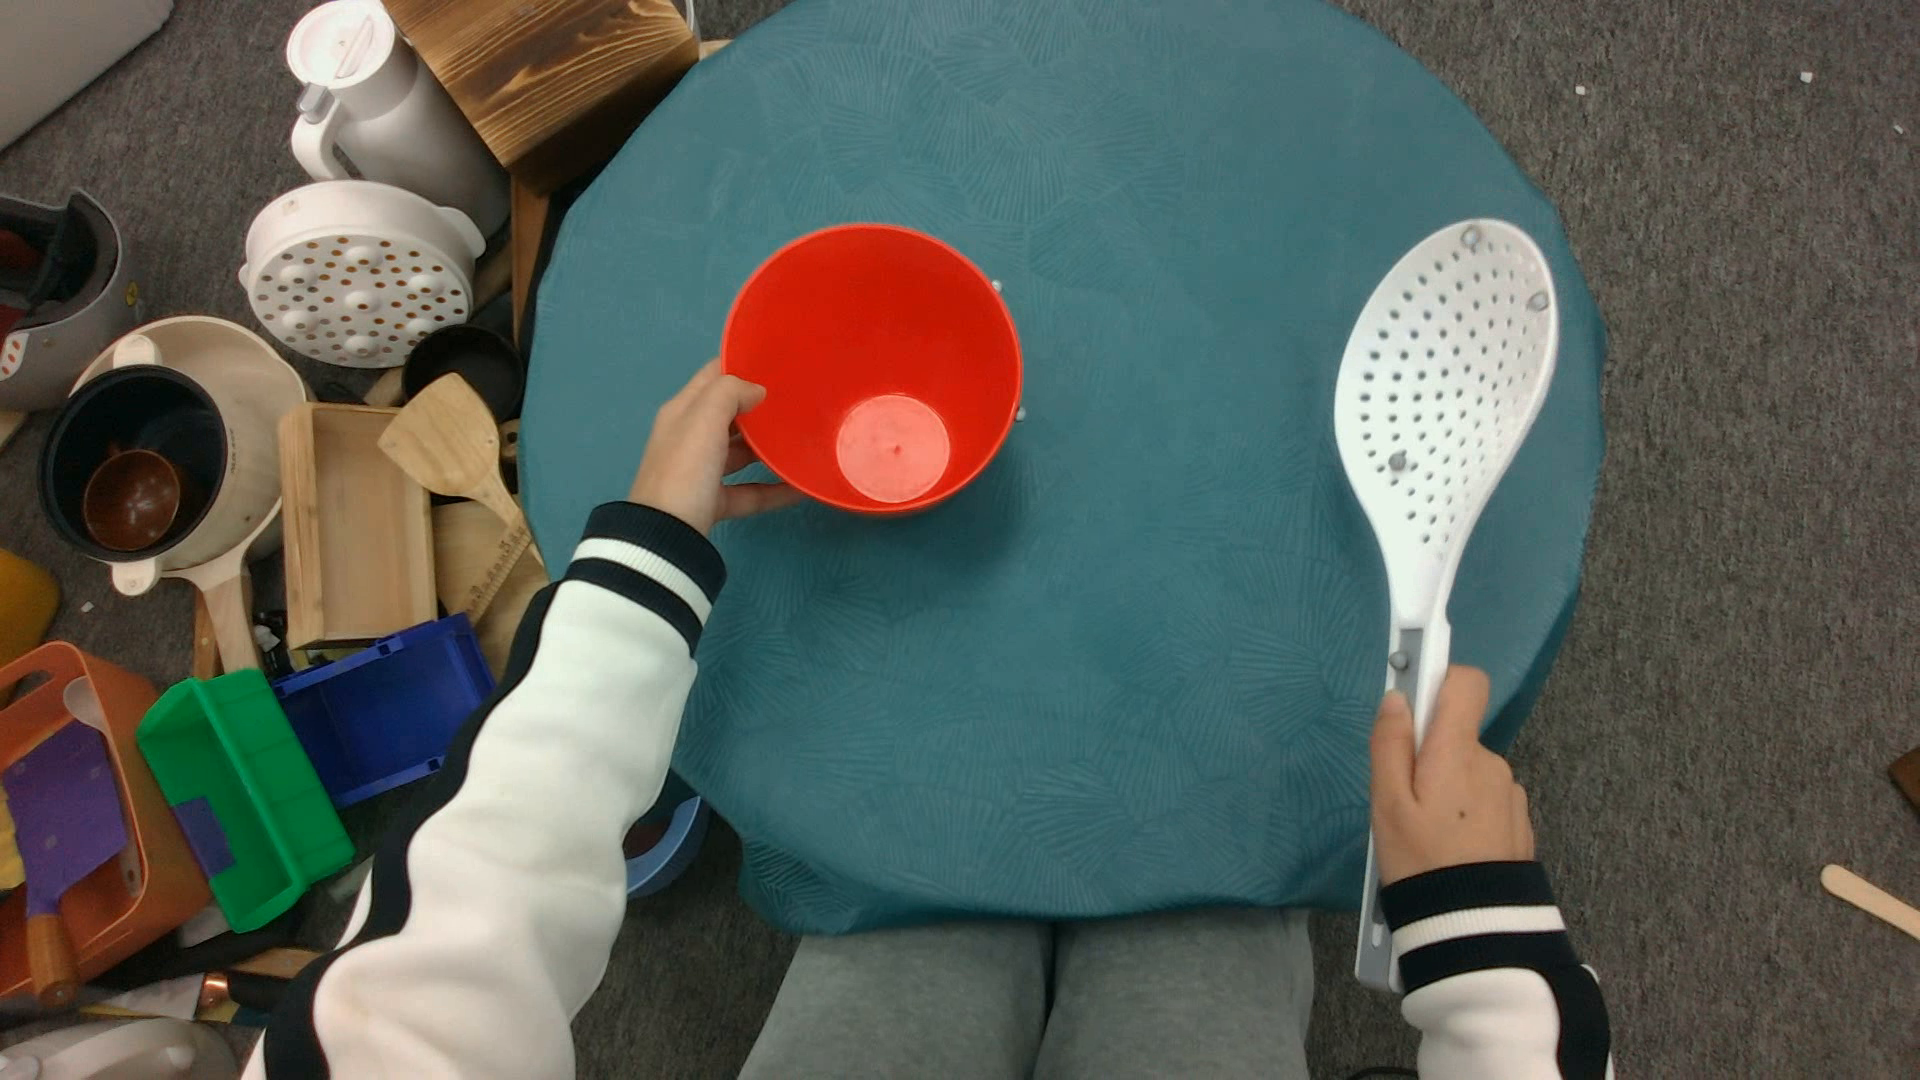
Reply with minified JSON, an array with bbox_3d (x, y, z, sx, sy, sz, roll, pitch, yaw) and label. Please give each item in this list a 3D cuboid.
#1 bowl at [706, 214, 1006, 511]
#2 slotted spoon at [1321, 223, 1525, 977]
[{"bbox_3d":[-0.052,-0.078,0.714,0.148,0.104,0.148,1,71,-4],"label":"bowl"},{"bbox_3d":[0.206,0.021,0.639,0.046,0.135,0.350,18,76,-20],"label":"slotted spoon"}]
